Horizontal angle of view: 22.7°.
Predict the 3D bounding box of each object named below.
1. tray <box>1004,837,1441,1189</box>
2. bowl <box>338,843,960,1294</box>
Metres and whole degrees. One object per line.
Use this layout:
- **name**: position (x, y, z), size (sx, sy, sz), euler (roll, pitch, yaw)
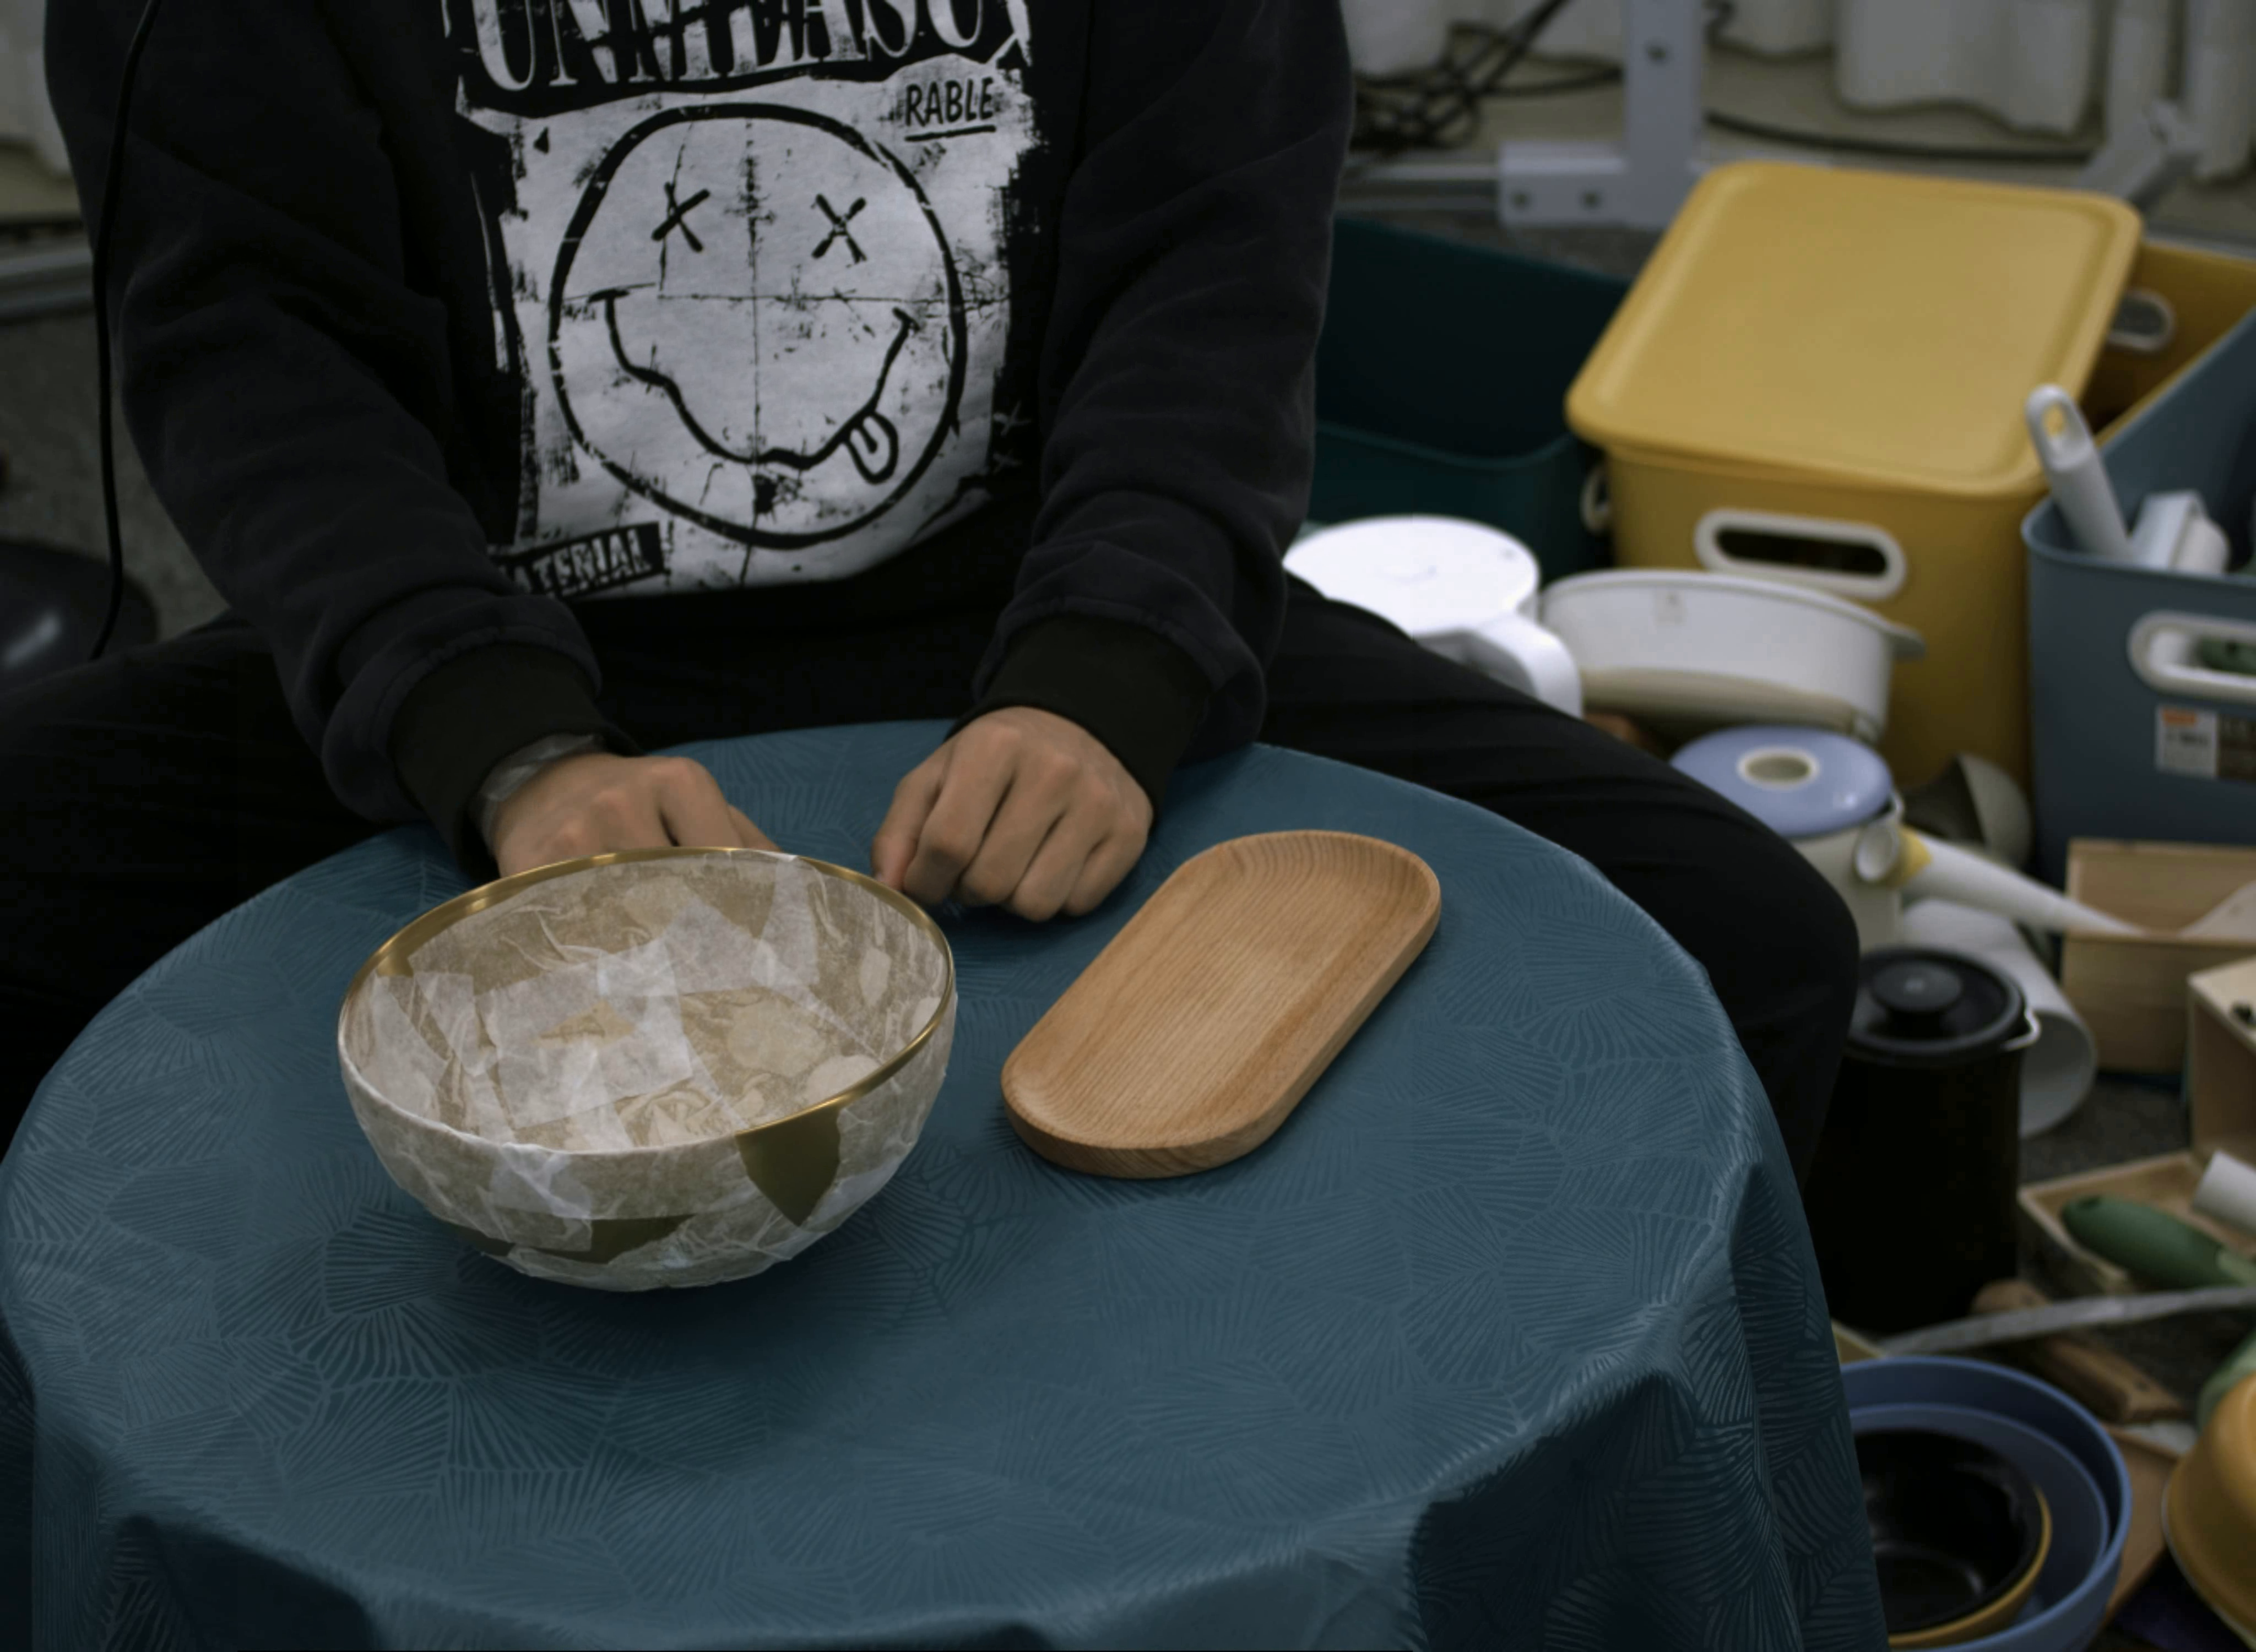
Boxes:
- **tray**: position (0.035, 0.063, 1.955), size (0.101, 0.020, 0.235), euler (7, 30, 23)
- **bowl**: position (-0.149, 0.091, 1.836), size (0.213, 0.093, 0.218), euler (-3, 27, 2)
